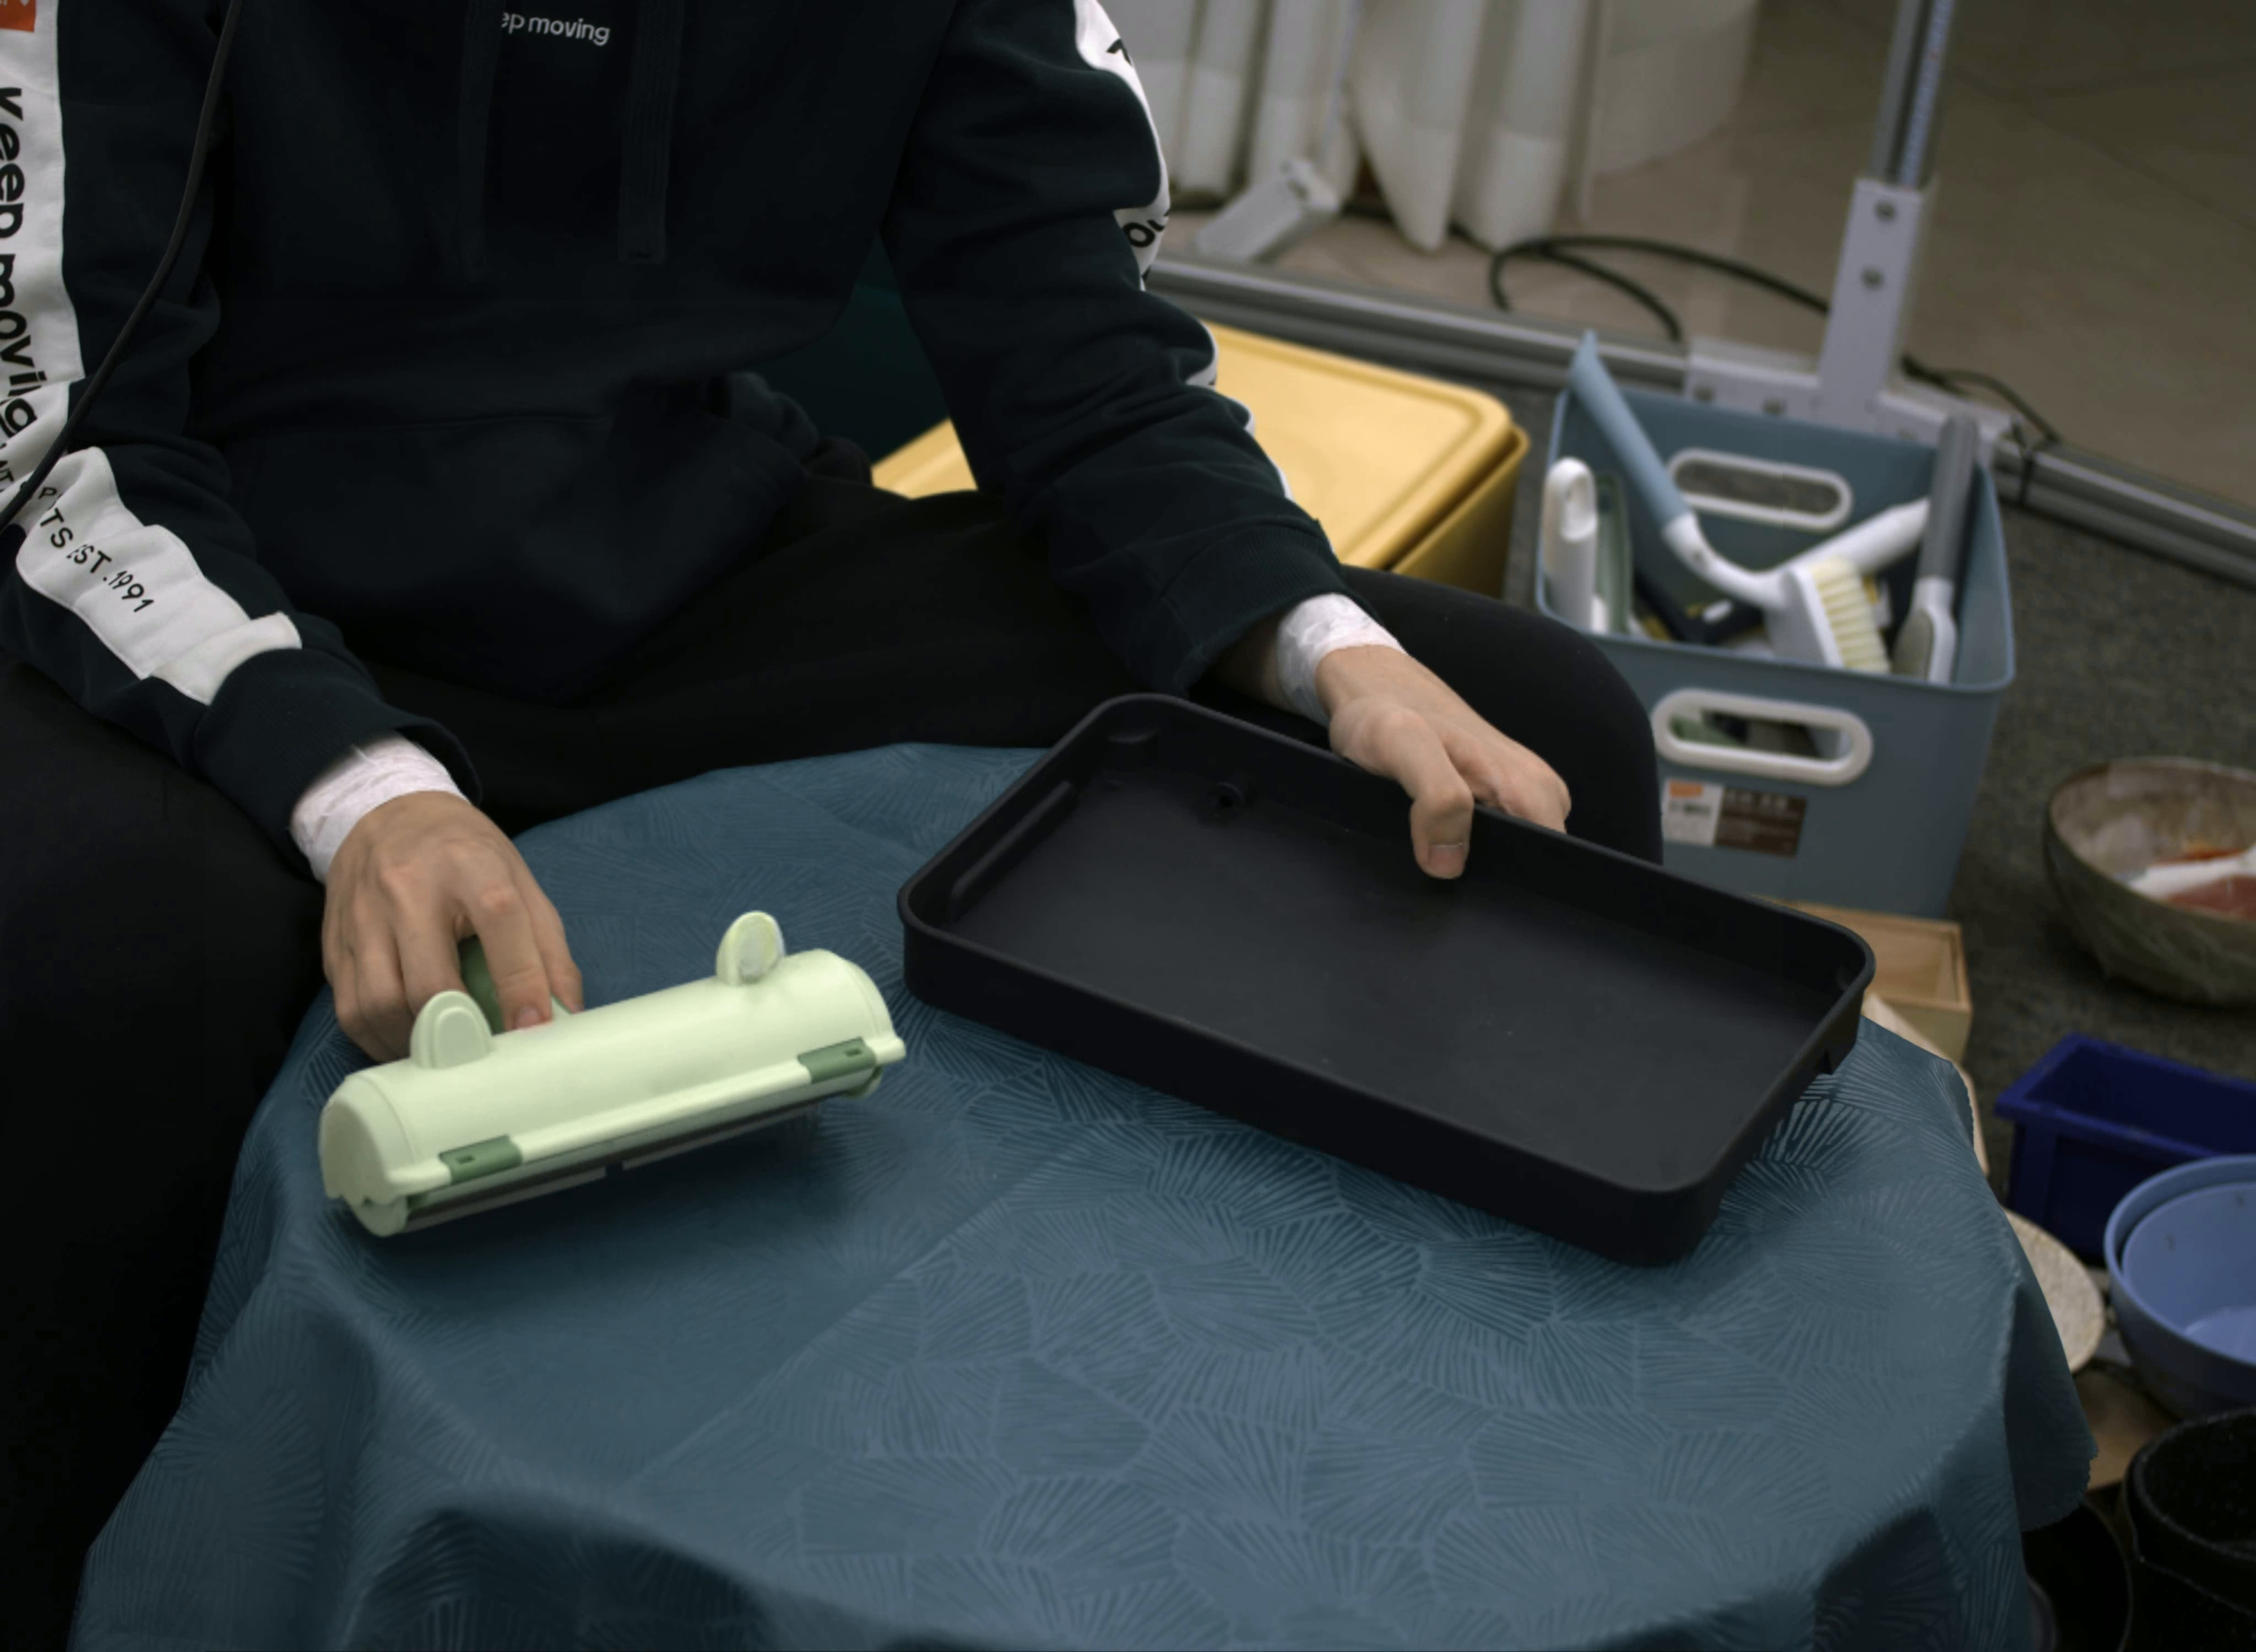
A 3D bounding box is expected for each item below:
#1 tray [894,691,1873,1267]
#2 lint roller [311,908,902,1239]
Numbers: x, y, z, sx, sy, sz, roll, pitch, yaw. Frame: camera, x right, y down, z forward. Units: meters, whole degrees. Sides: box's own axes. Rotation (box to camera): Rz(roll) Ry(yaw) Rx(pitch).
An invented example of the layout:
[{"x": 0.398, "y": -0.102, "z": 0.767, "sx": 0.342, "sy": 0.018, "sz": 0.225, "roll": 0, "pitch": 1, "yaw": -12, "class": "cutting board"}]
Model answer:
[{"x": 0.090, "y": 0.050, "z": 1.899, "sx": 0.319, "sy": 0.037, "sz": 0.184, "roll": 20, "pitch": 37, "yaw": 24, "class": "tray"}, {"x": -0.202, "y": 0.055, "z": 1.787, "sx": 0.197, "sy": 0.082, "sz": 0.185, "roll": -15, "pitch": 36, "yaw": -32, "class": "lint roller"}]
